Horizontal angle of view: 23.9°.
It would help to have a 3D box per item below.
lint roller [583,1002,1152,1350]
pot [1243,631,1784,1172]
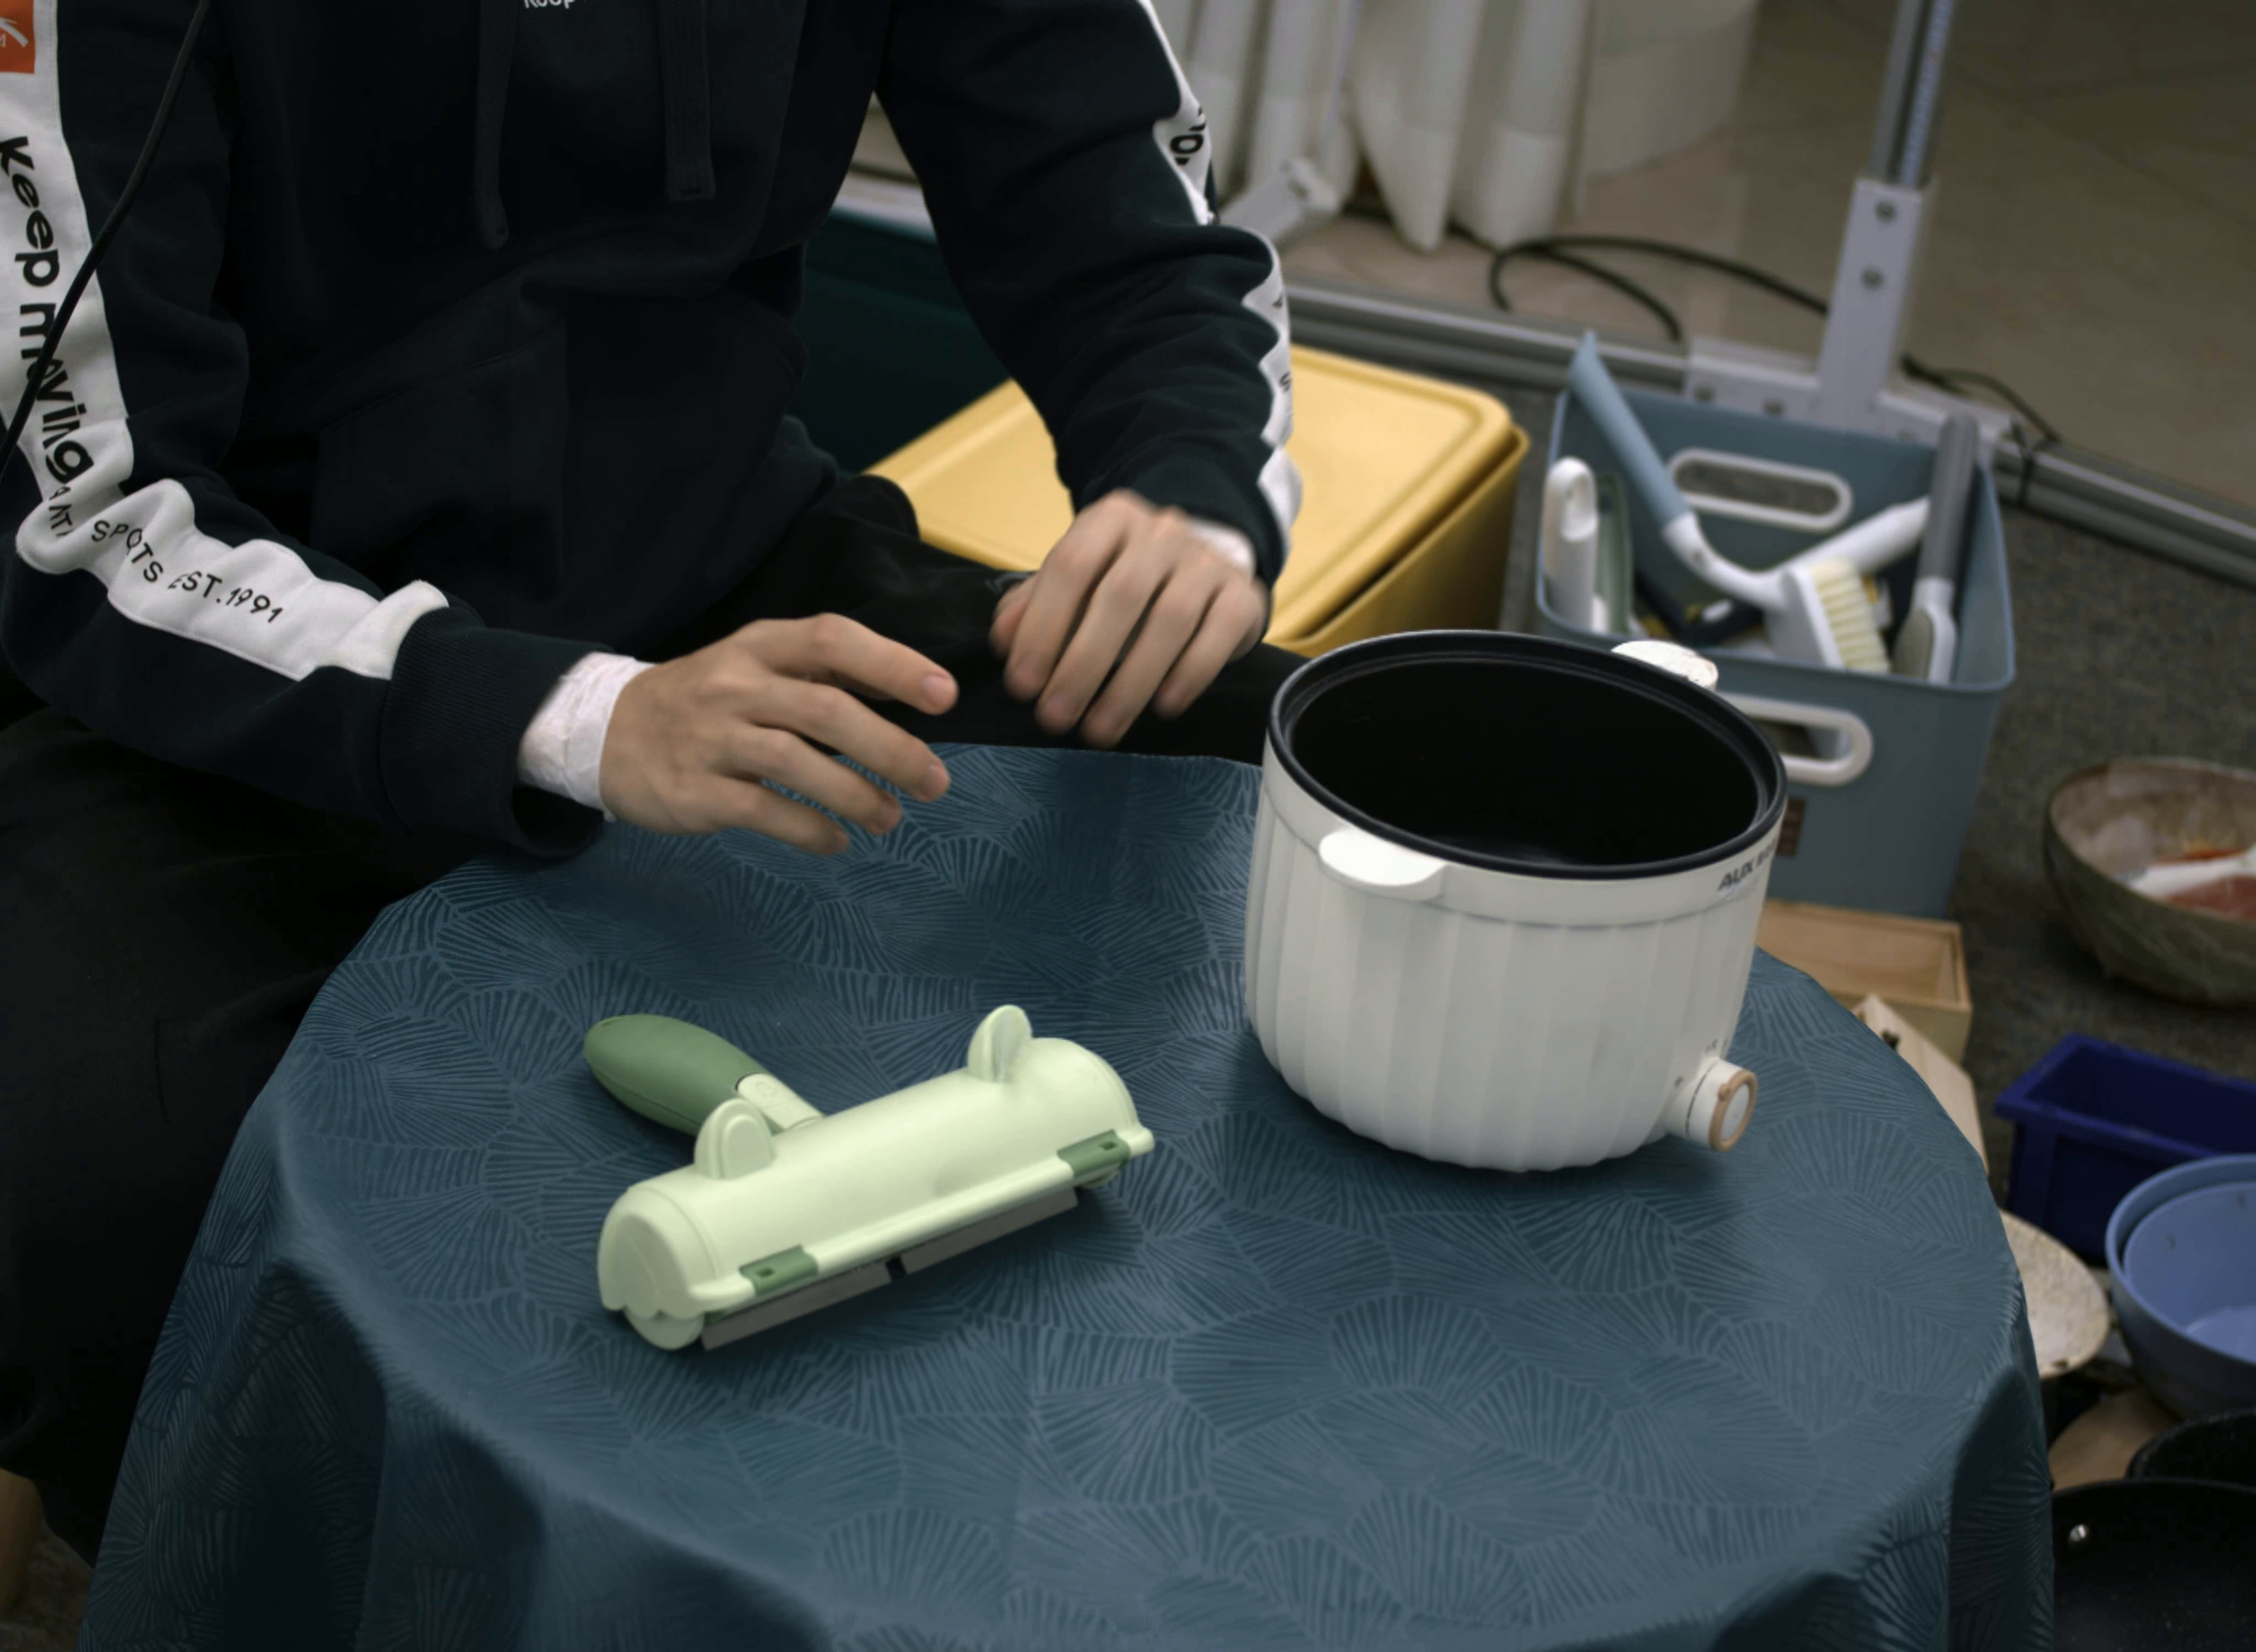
[{"bbox_3d":[-0.119,0.086,1.763,0.197,0.082,0.185,-18,41,-39],"label":"lint roller"},{"bbox_3d":[0.135,0.032,1.857,0.191,0.142,0.240,18,30,28],"label":"pot"}]
